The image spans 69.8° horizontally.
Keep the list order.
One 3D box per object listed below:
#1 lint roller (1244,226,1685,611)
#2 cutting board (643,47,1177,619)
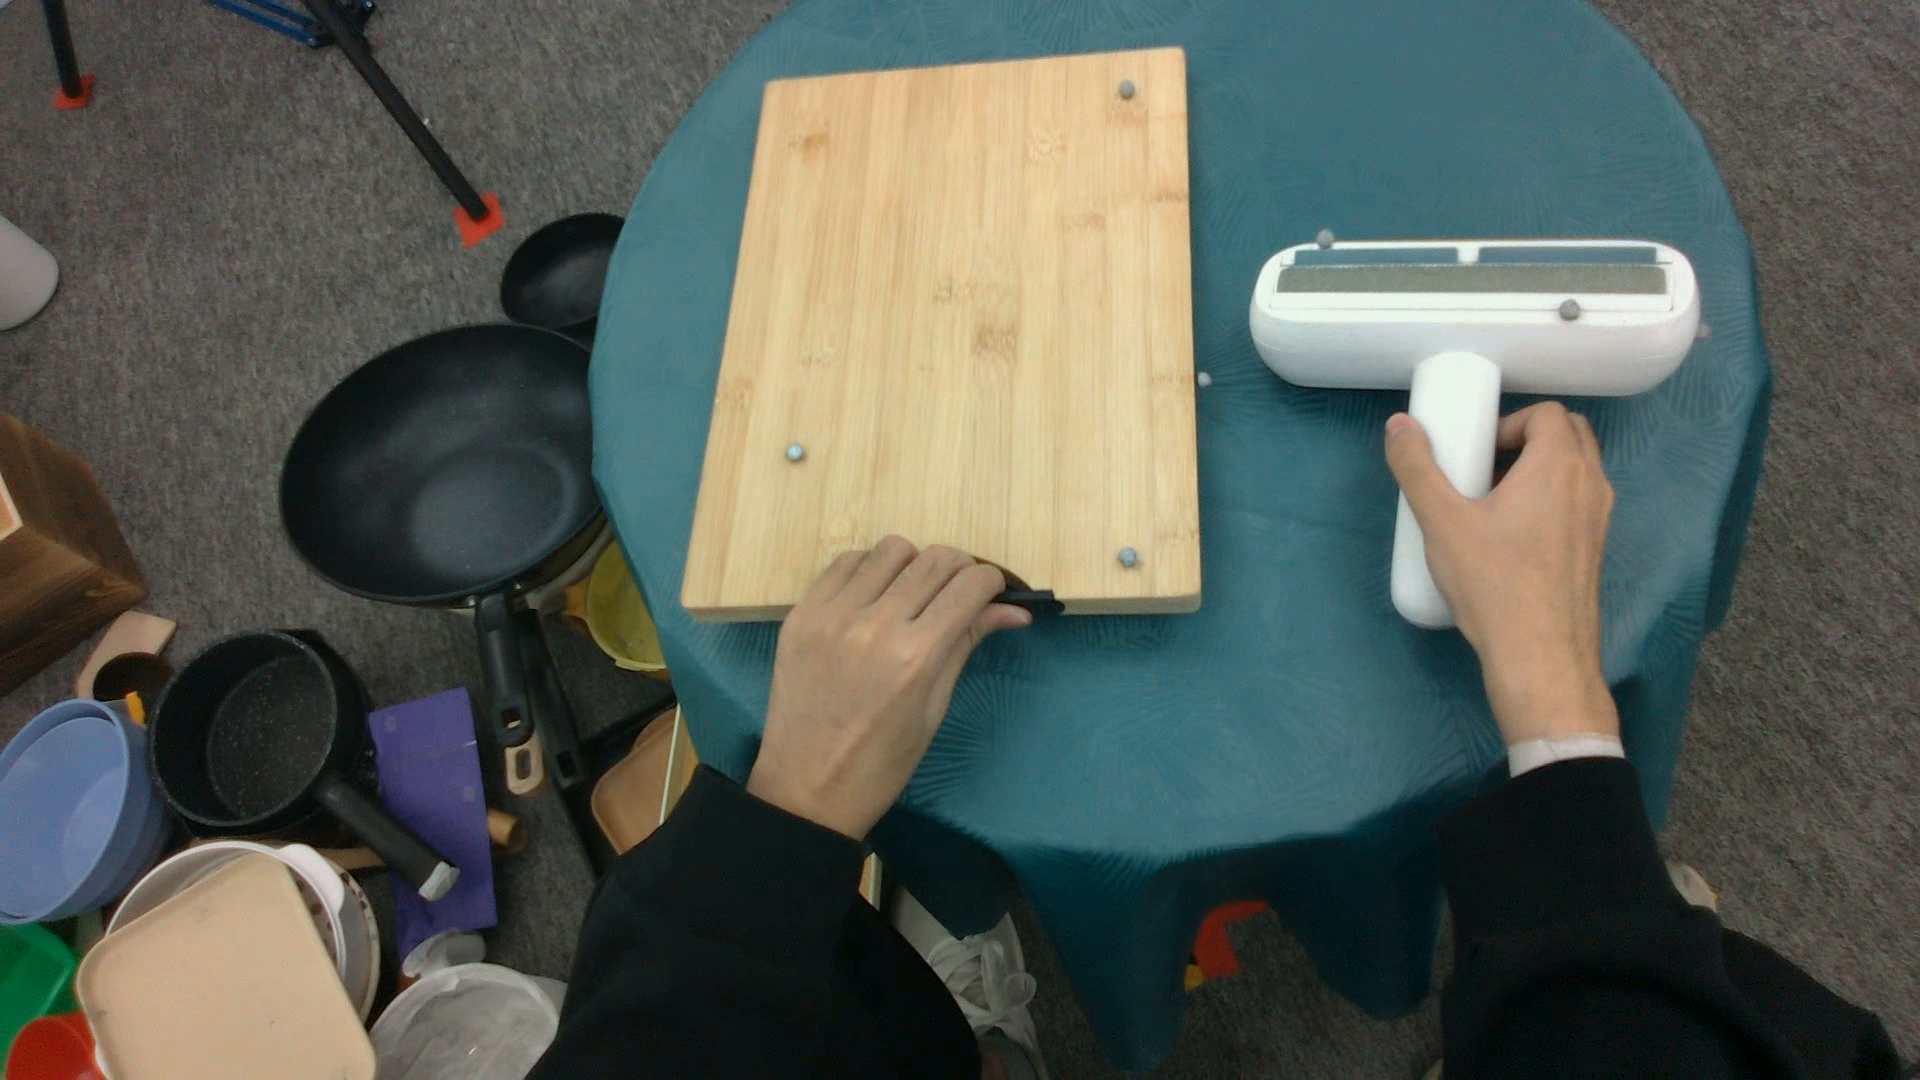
[{"bbox_3d":[0.213,-0.060,0.621,0.192,0.074,0.193,11,58,18],"label":"lint roller"},{"bbox_3d":[-0.016,-0.119,0.703,0.250,0.023,0.350,-2,60,8],"label":"cutting board"}]
